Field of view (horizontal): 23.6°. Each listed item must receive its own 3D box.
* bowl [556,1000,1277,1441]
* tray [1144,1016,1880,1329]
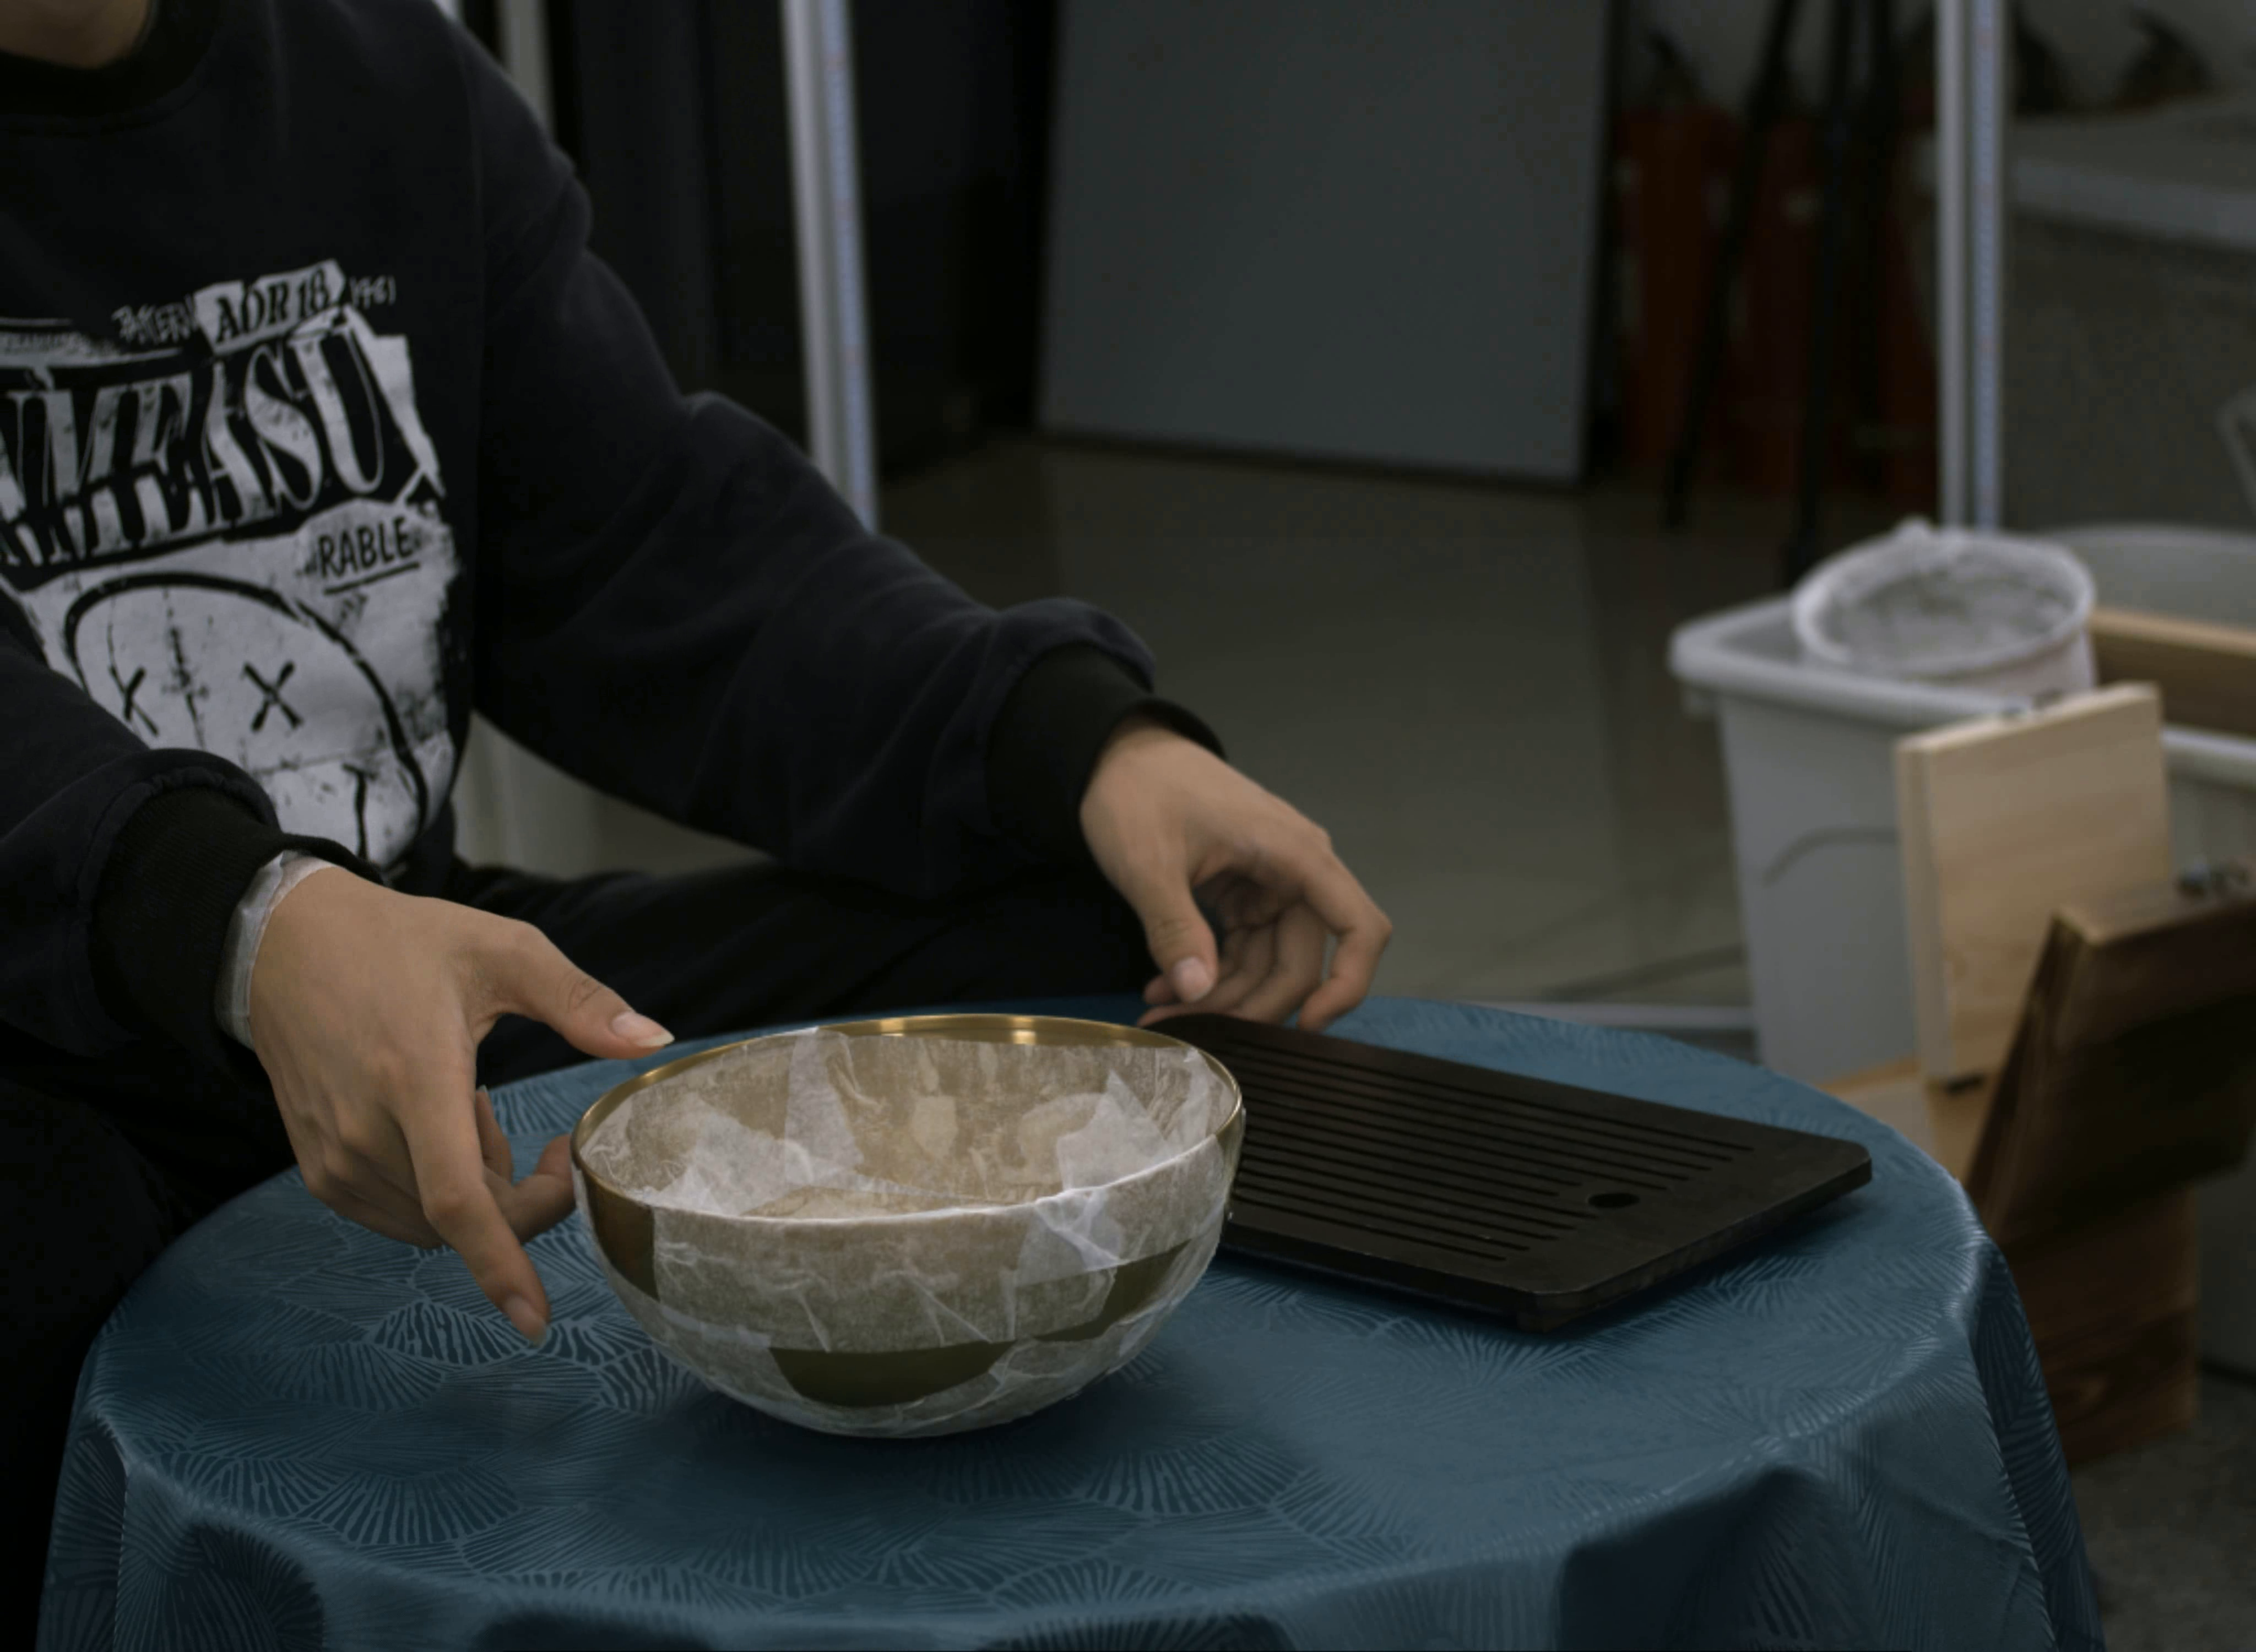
[{"bbox_3d":[-0.060,0.124,1.585,0.212,0.095,0.215,-5,14,0],"label":"bowl"},{"bbox_3d":[0.079,0.110,1.757,0.309,0.019,0.166,9,19,44],"label":"tray"}]
